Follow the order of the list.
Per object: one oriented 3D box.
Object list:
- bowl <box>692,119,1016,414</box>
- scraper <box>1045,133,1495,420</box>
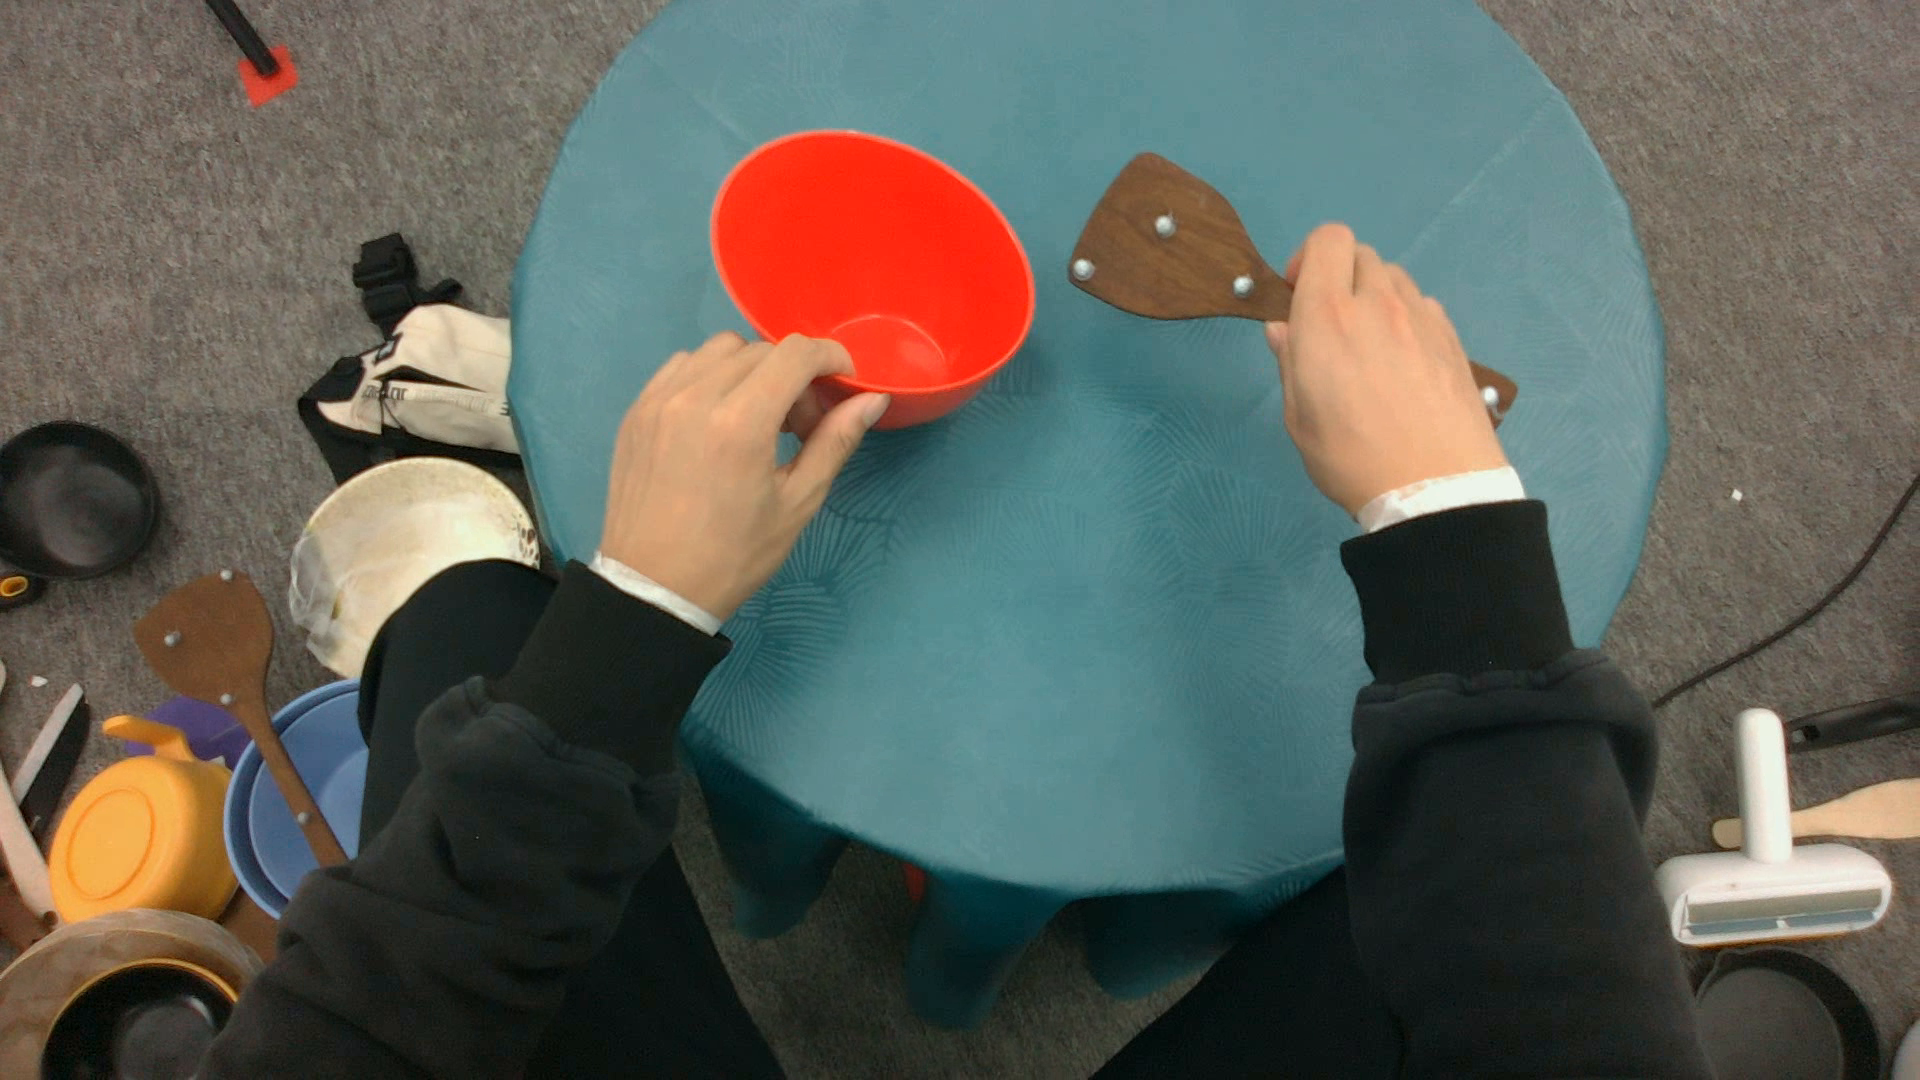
[{"bbox_3d":[-0.052,-0.115,0.651,0.148,0.104,0.148,5,60,-9],"label":"bowl"},{"bbox_3d":[0.139,-0.112,0.620,0.211,0.011,0.076,31,90,18],"label":"scraper"}]
